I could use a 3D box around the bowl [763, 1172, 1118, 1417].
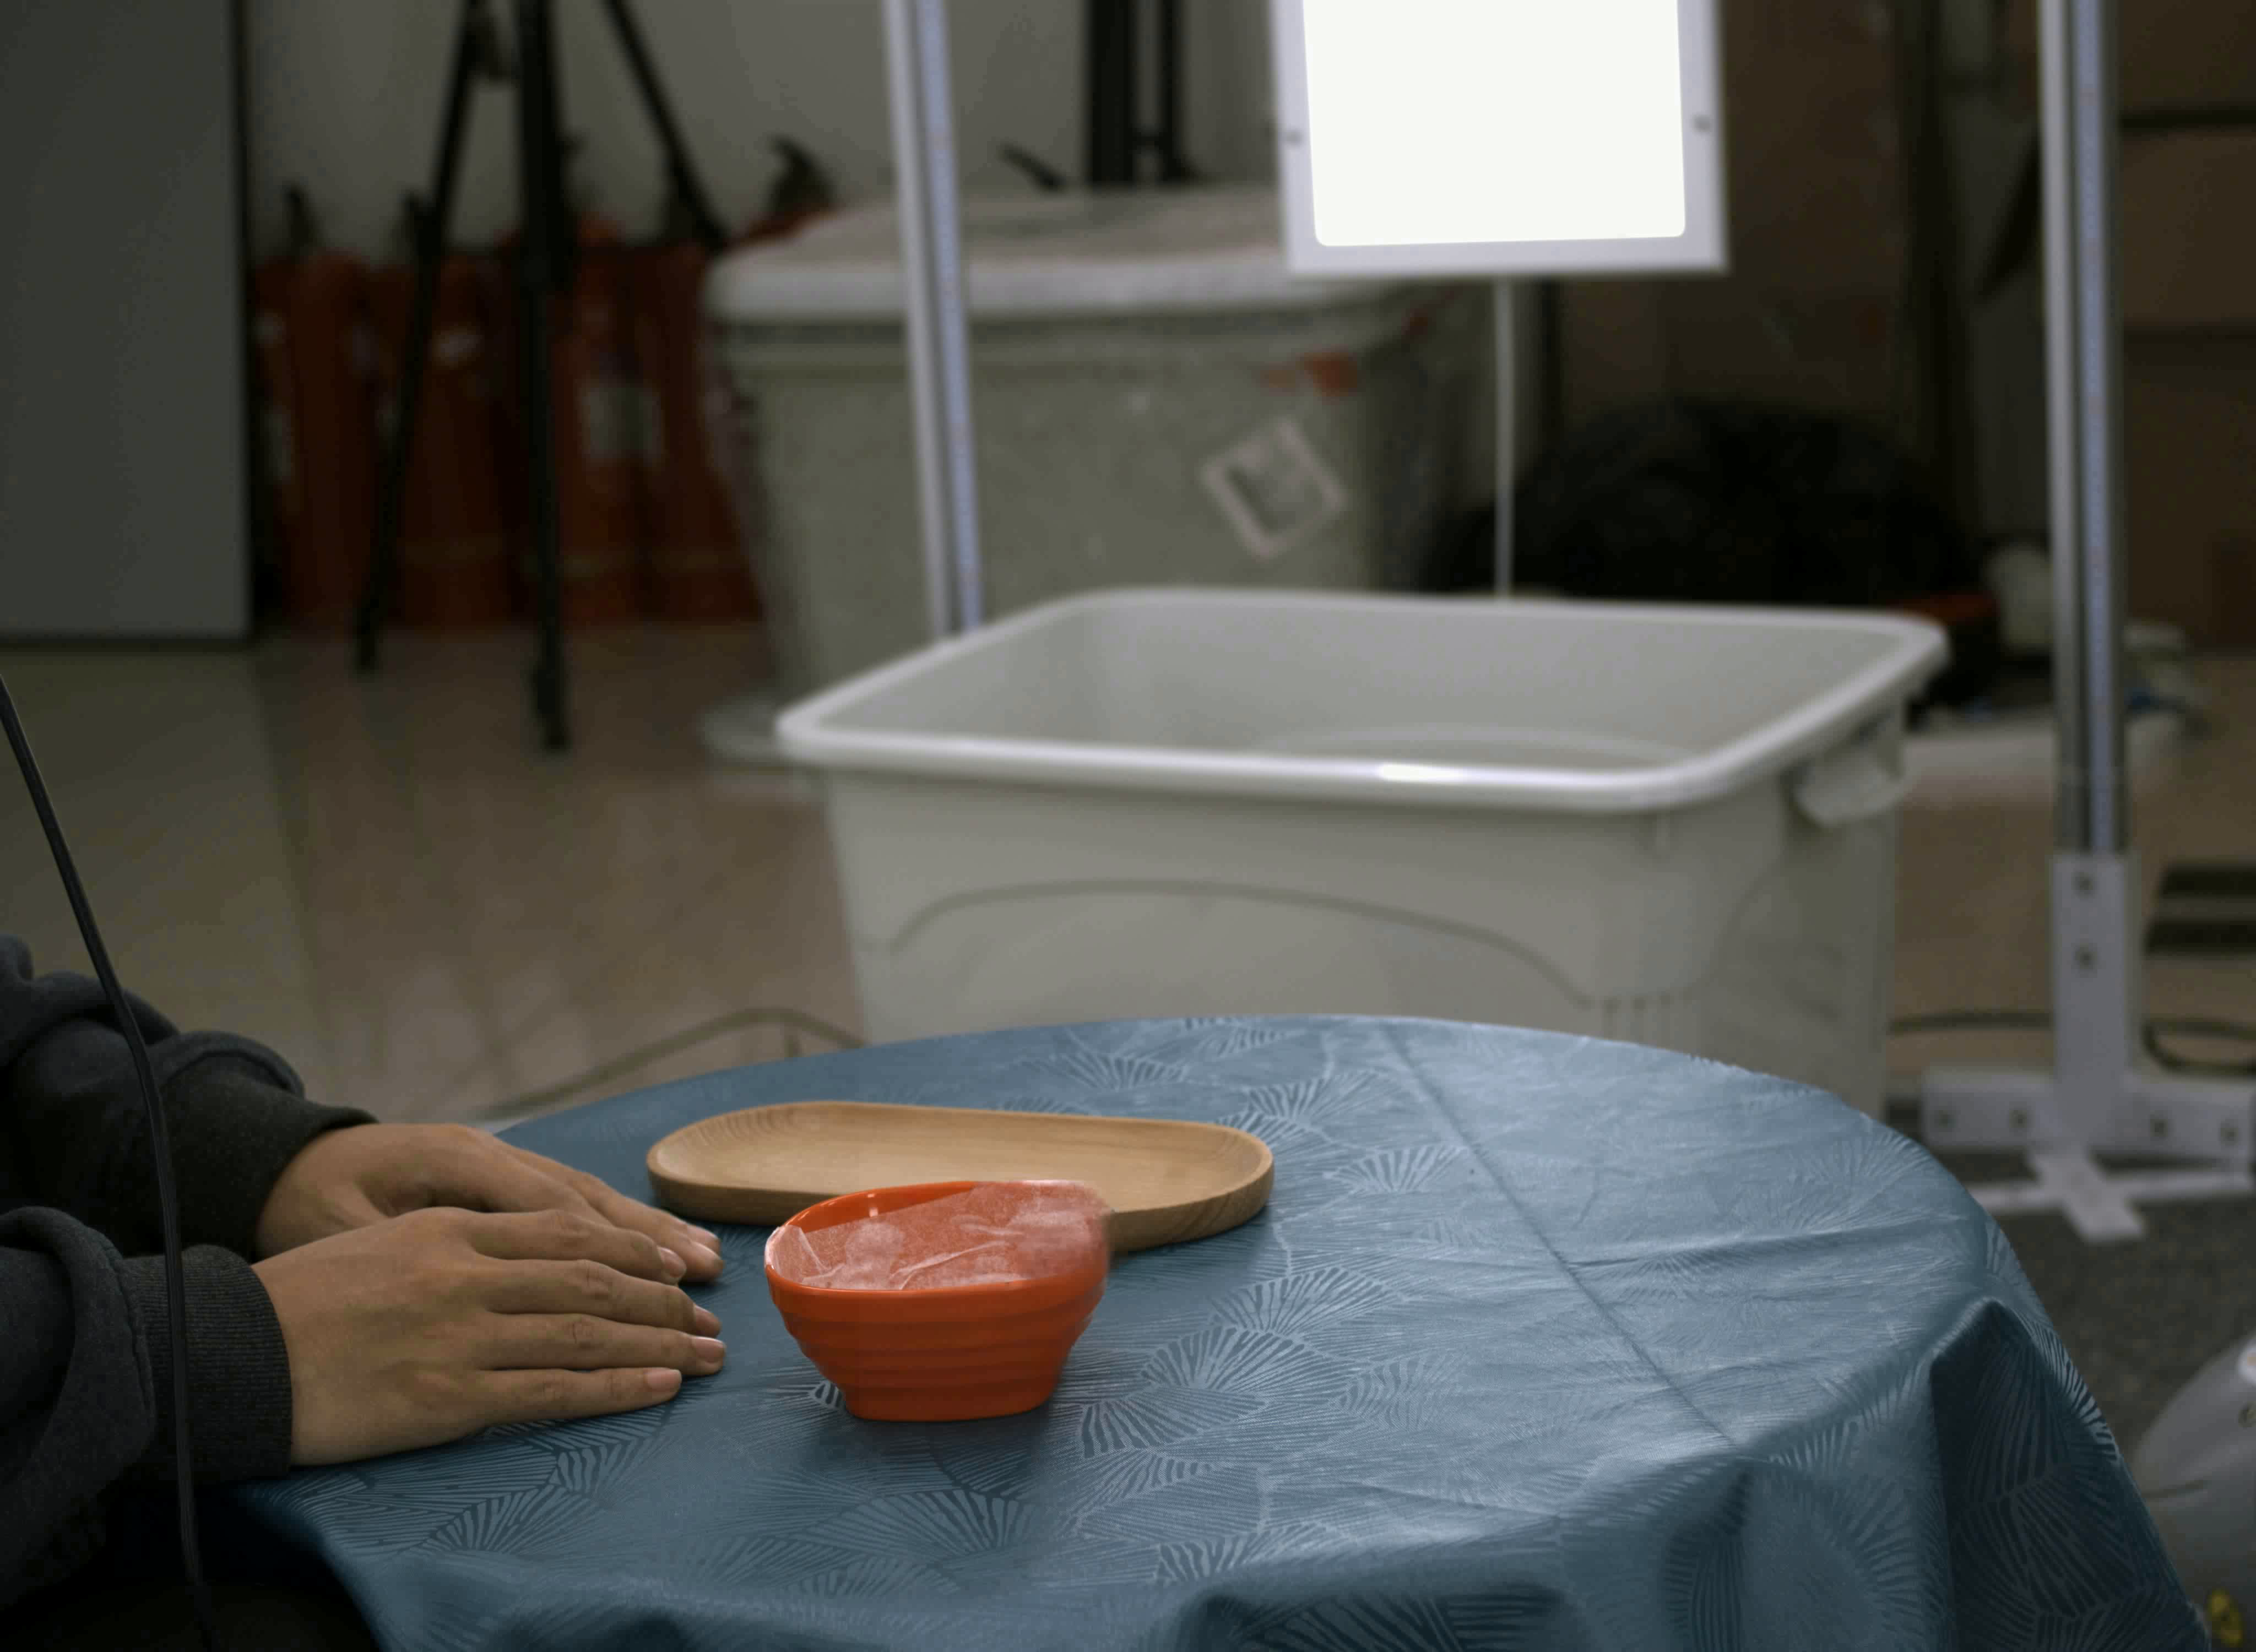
[{"bbox_3d":[-0.057,0.148,1.714,0.118,0.051,0.119,-4,15,0],"label":"bowl"}]

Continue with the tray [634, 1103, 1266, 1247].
[{"bbox_3d":[-0.063,0.121,1.909,0.235,0.020,0.099,0,14,25],"label":"tray"}]
